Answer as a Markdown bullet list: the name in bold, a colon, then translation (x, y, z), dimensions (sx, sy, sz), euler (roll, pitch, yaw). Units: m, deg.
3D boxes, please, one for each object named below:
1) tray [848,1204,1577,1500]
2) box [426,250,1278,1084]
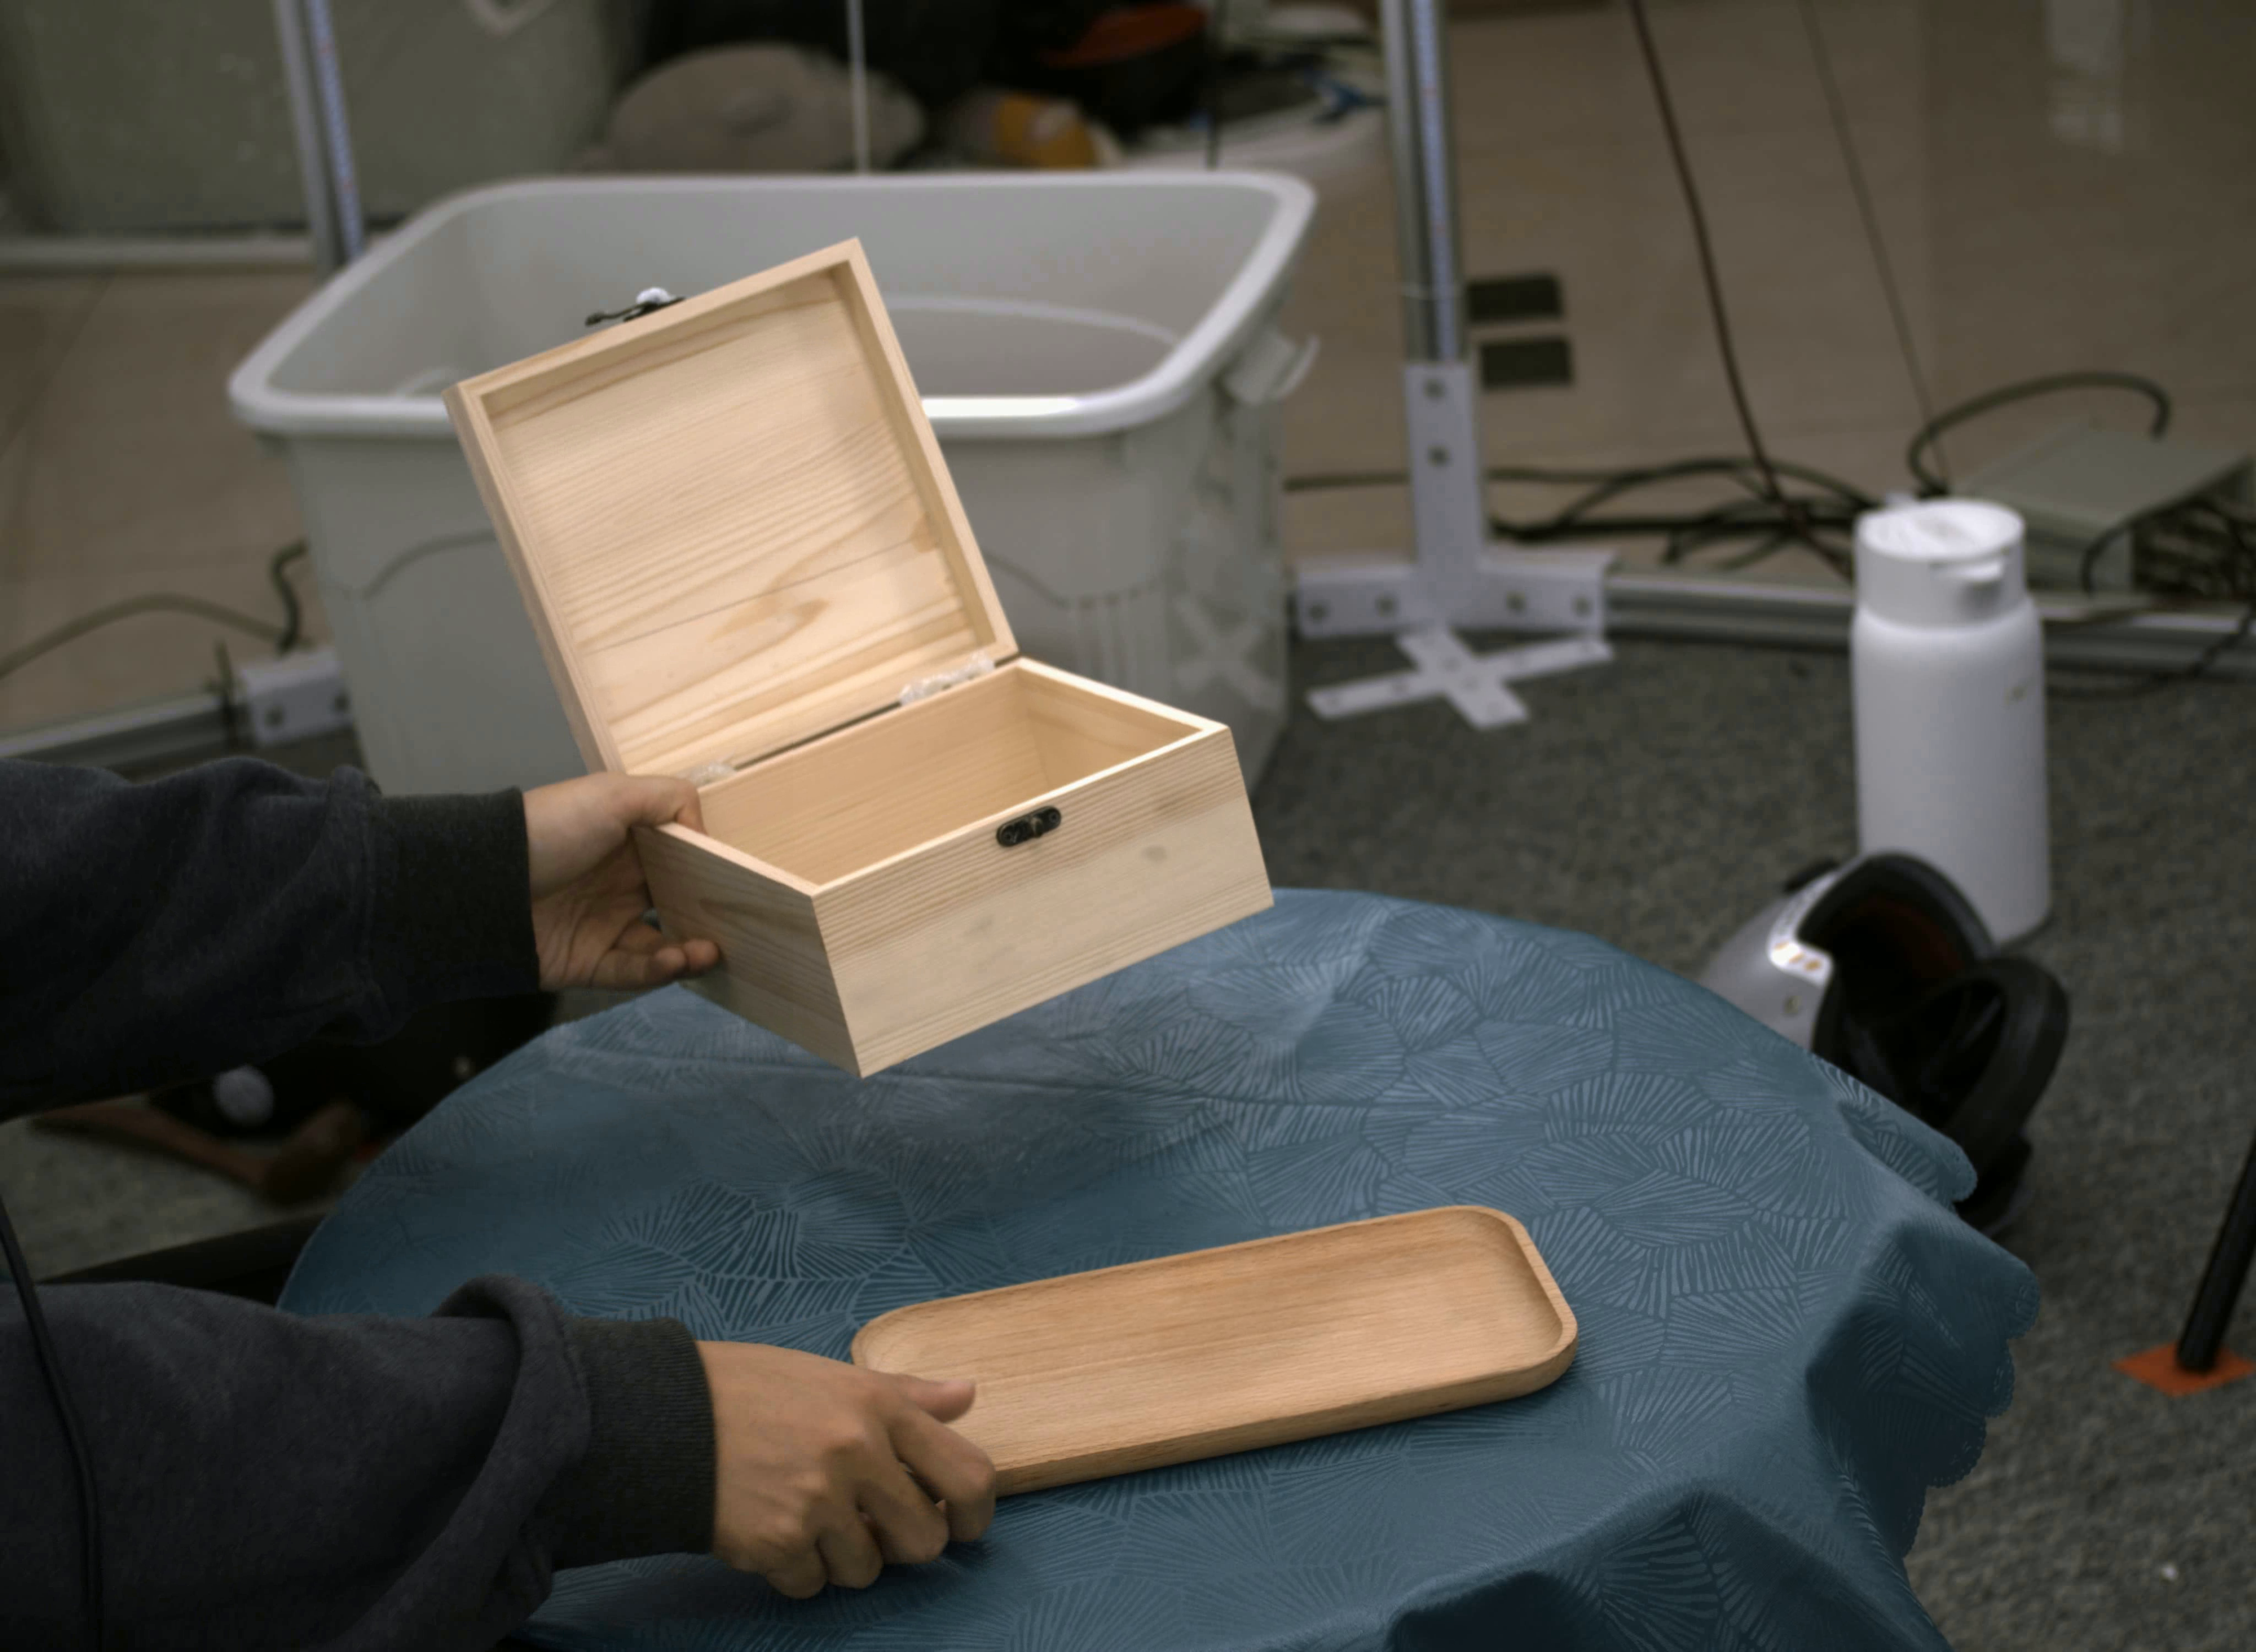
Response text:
- **tray**: translation (0.029, 0.186, 2.016), dimensions (0.250, 0.023, 0.129), euler (-10, 22, -7)
- **box**: translation (-0.109, -0.069, 2.190), dimensions (0.180, 0.256, 0.263), euler (-26, 20, -22)
